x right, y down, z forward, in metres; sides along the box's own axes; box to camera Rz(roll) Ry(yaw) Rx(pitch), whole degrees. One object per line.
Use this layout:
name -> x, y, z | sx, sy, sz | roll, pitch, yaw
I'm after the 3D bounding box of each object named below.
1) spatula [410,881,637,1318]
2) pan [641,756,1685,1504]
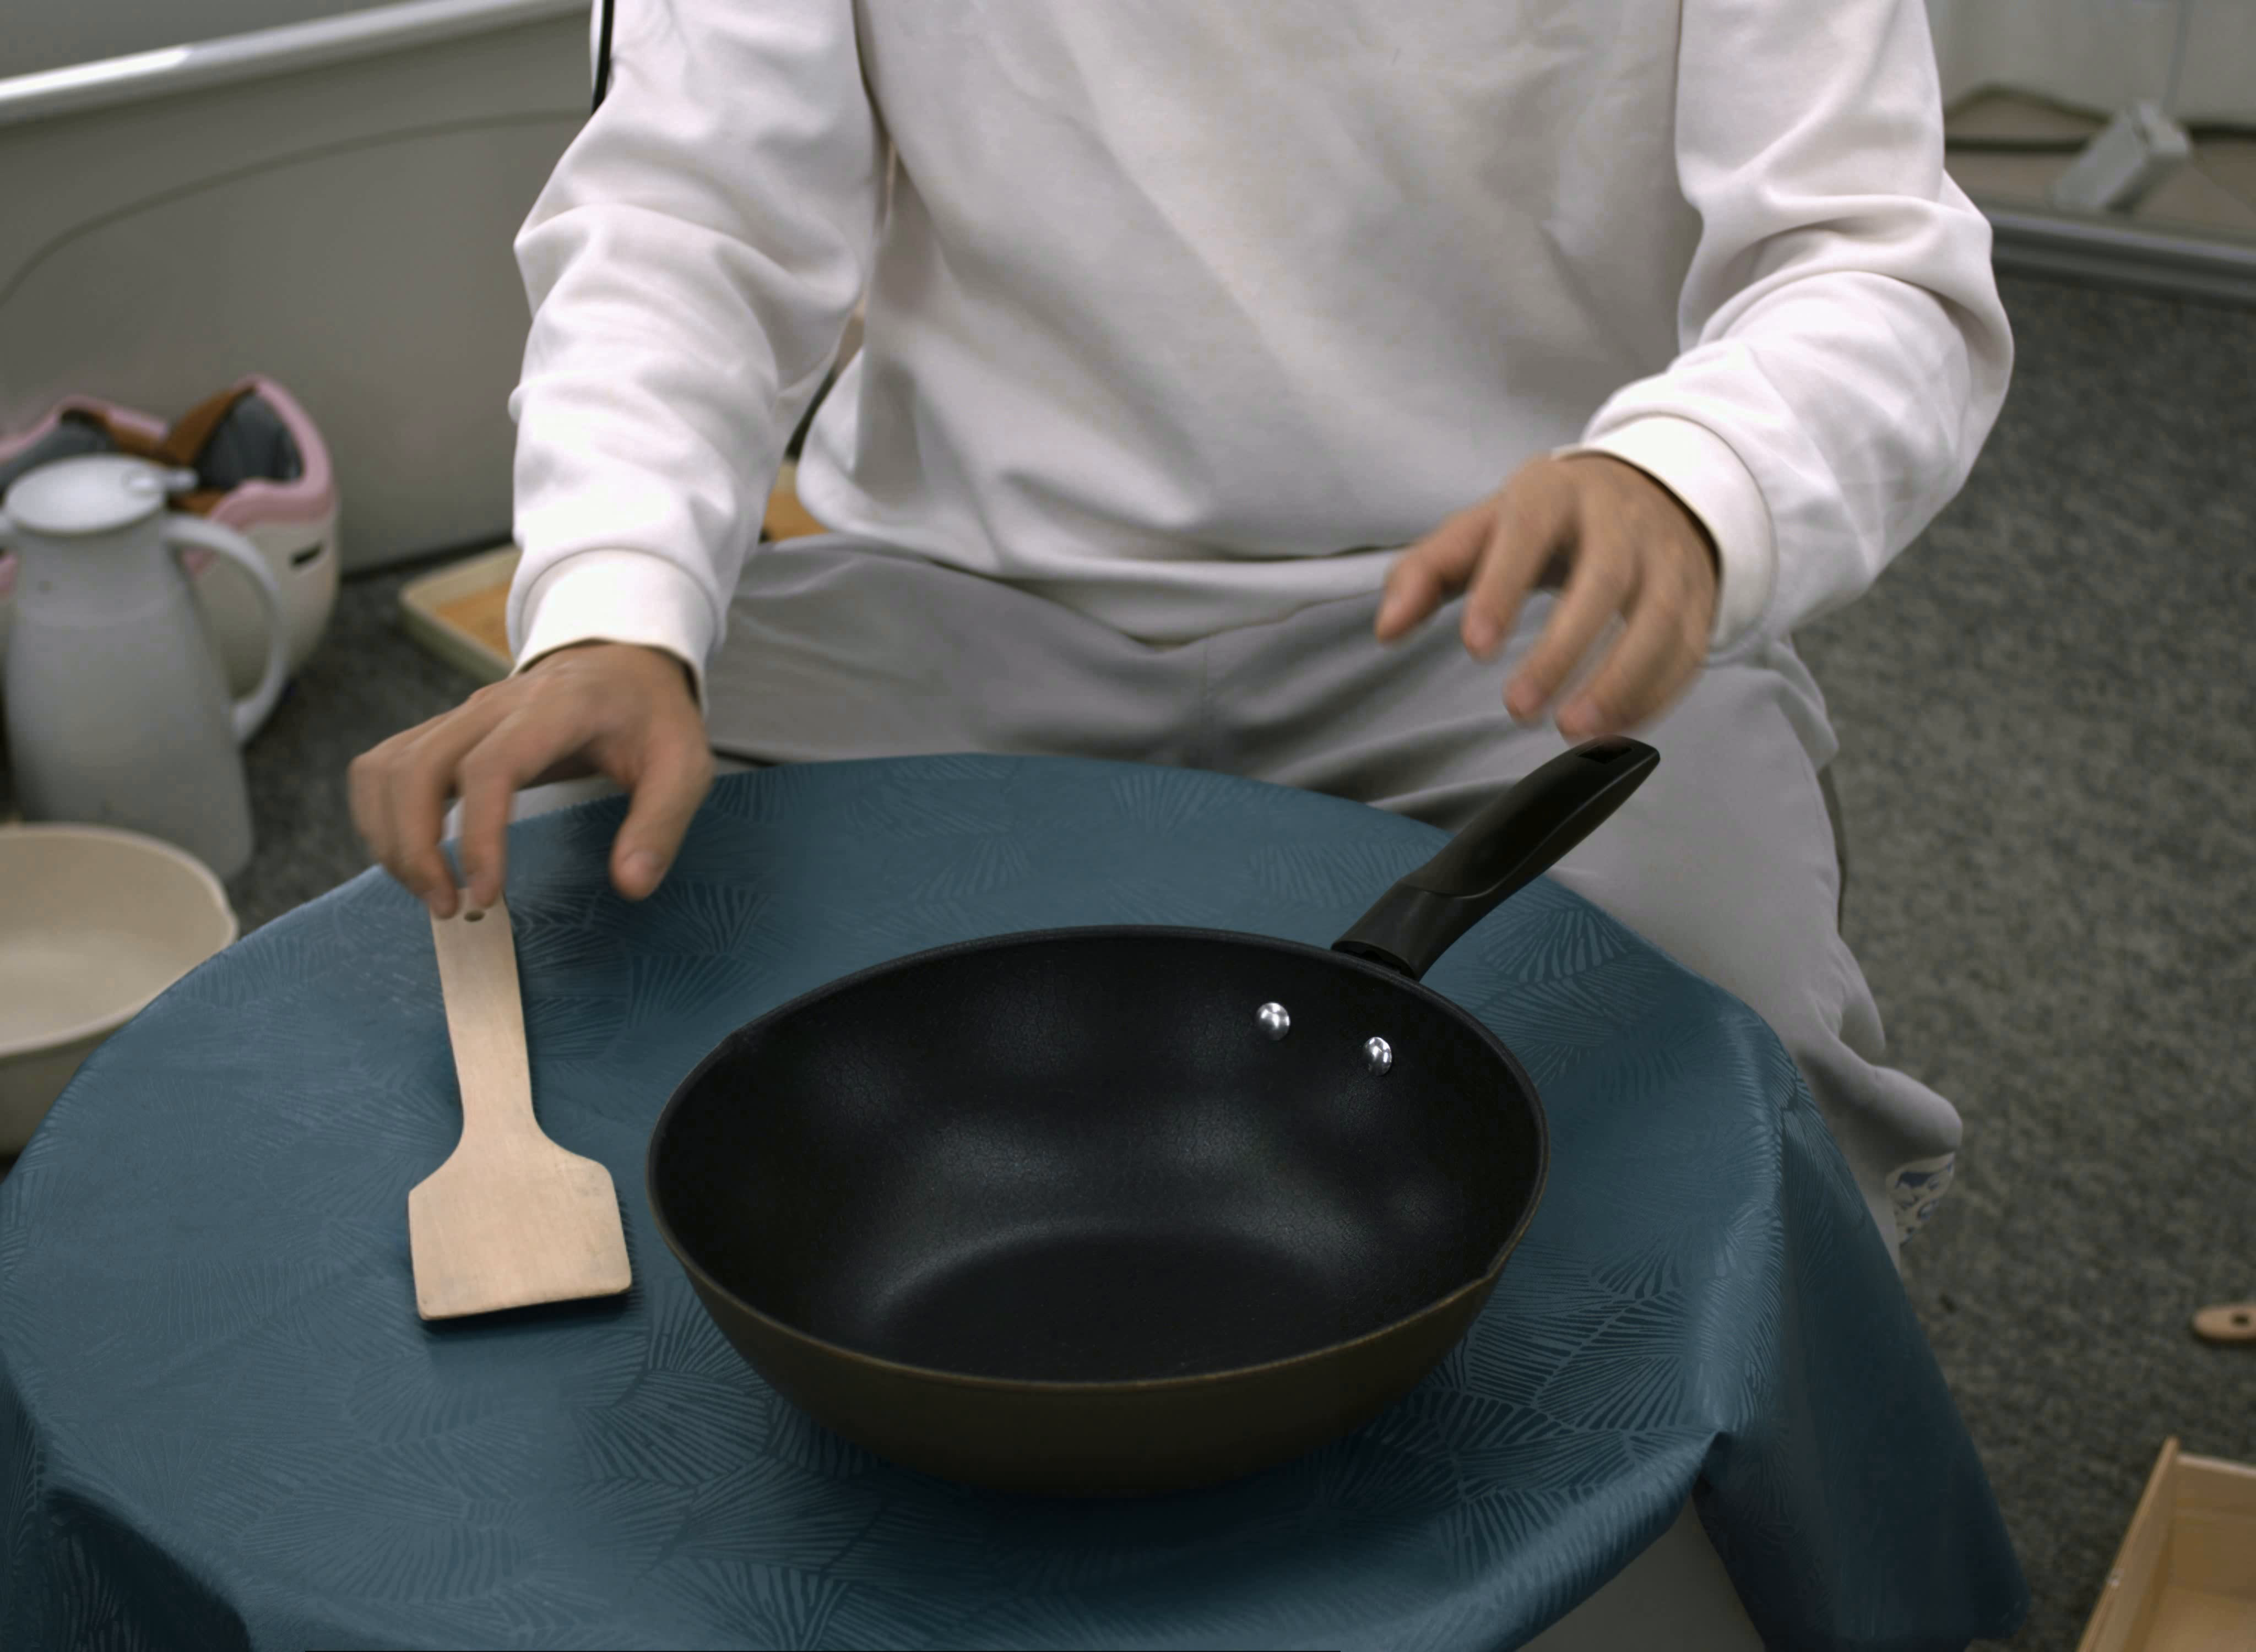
spatula -> -0.218, 0.090, 1.935 | 0.072, 0.010, 0.296 | -8, 28, -7
pan -> 0.044, 0.096, 1.822 | 0.287, 0.086, 0.470 | 17, 32, 32
